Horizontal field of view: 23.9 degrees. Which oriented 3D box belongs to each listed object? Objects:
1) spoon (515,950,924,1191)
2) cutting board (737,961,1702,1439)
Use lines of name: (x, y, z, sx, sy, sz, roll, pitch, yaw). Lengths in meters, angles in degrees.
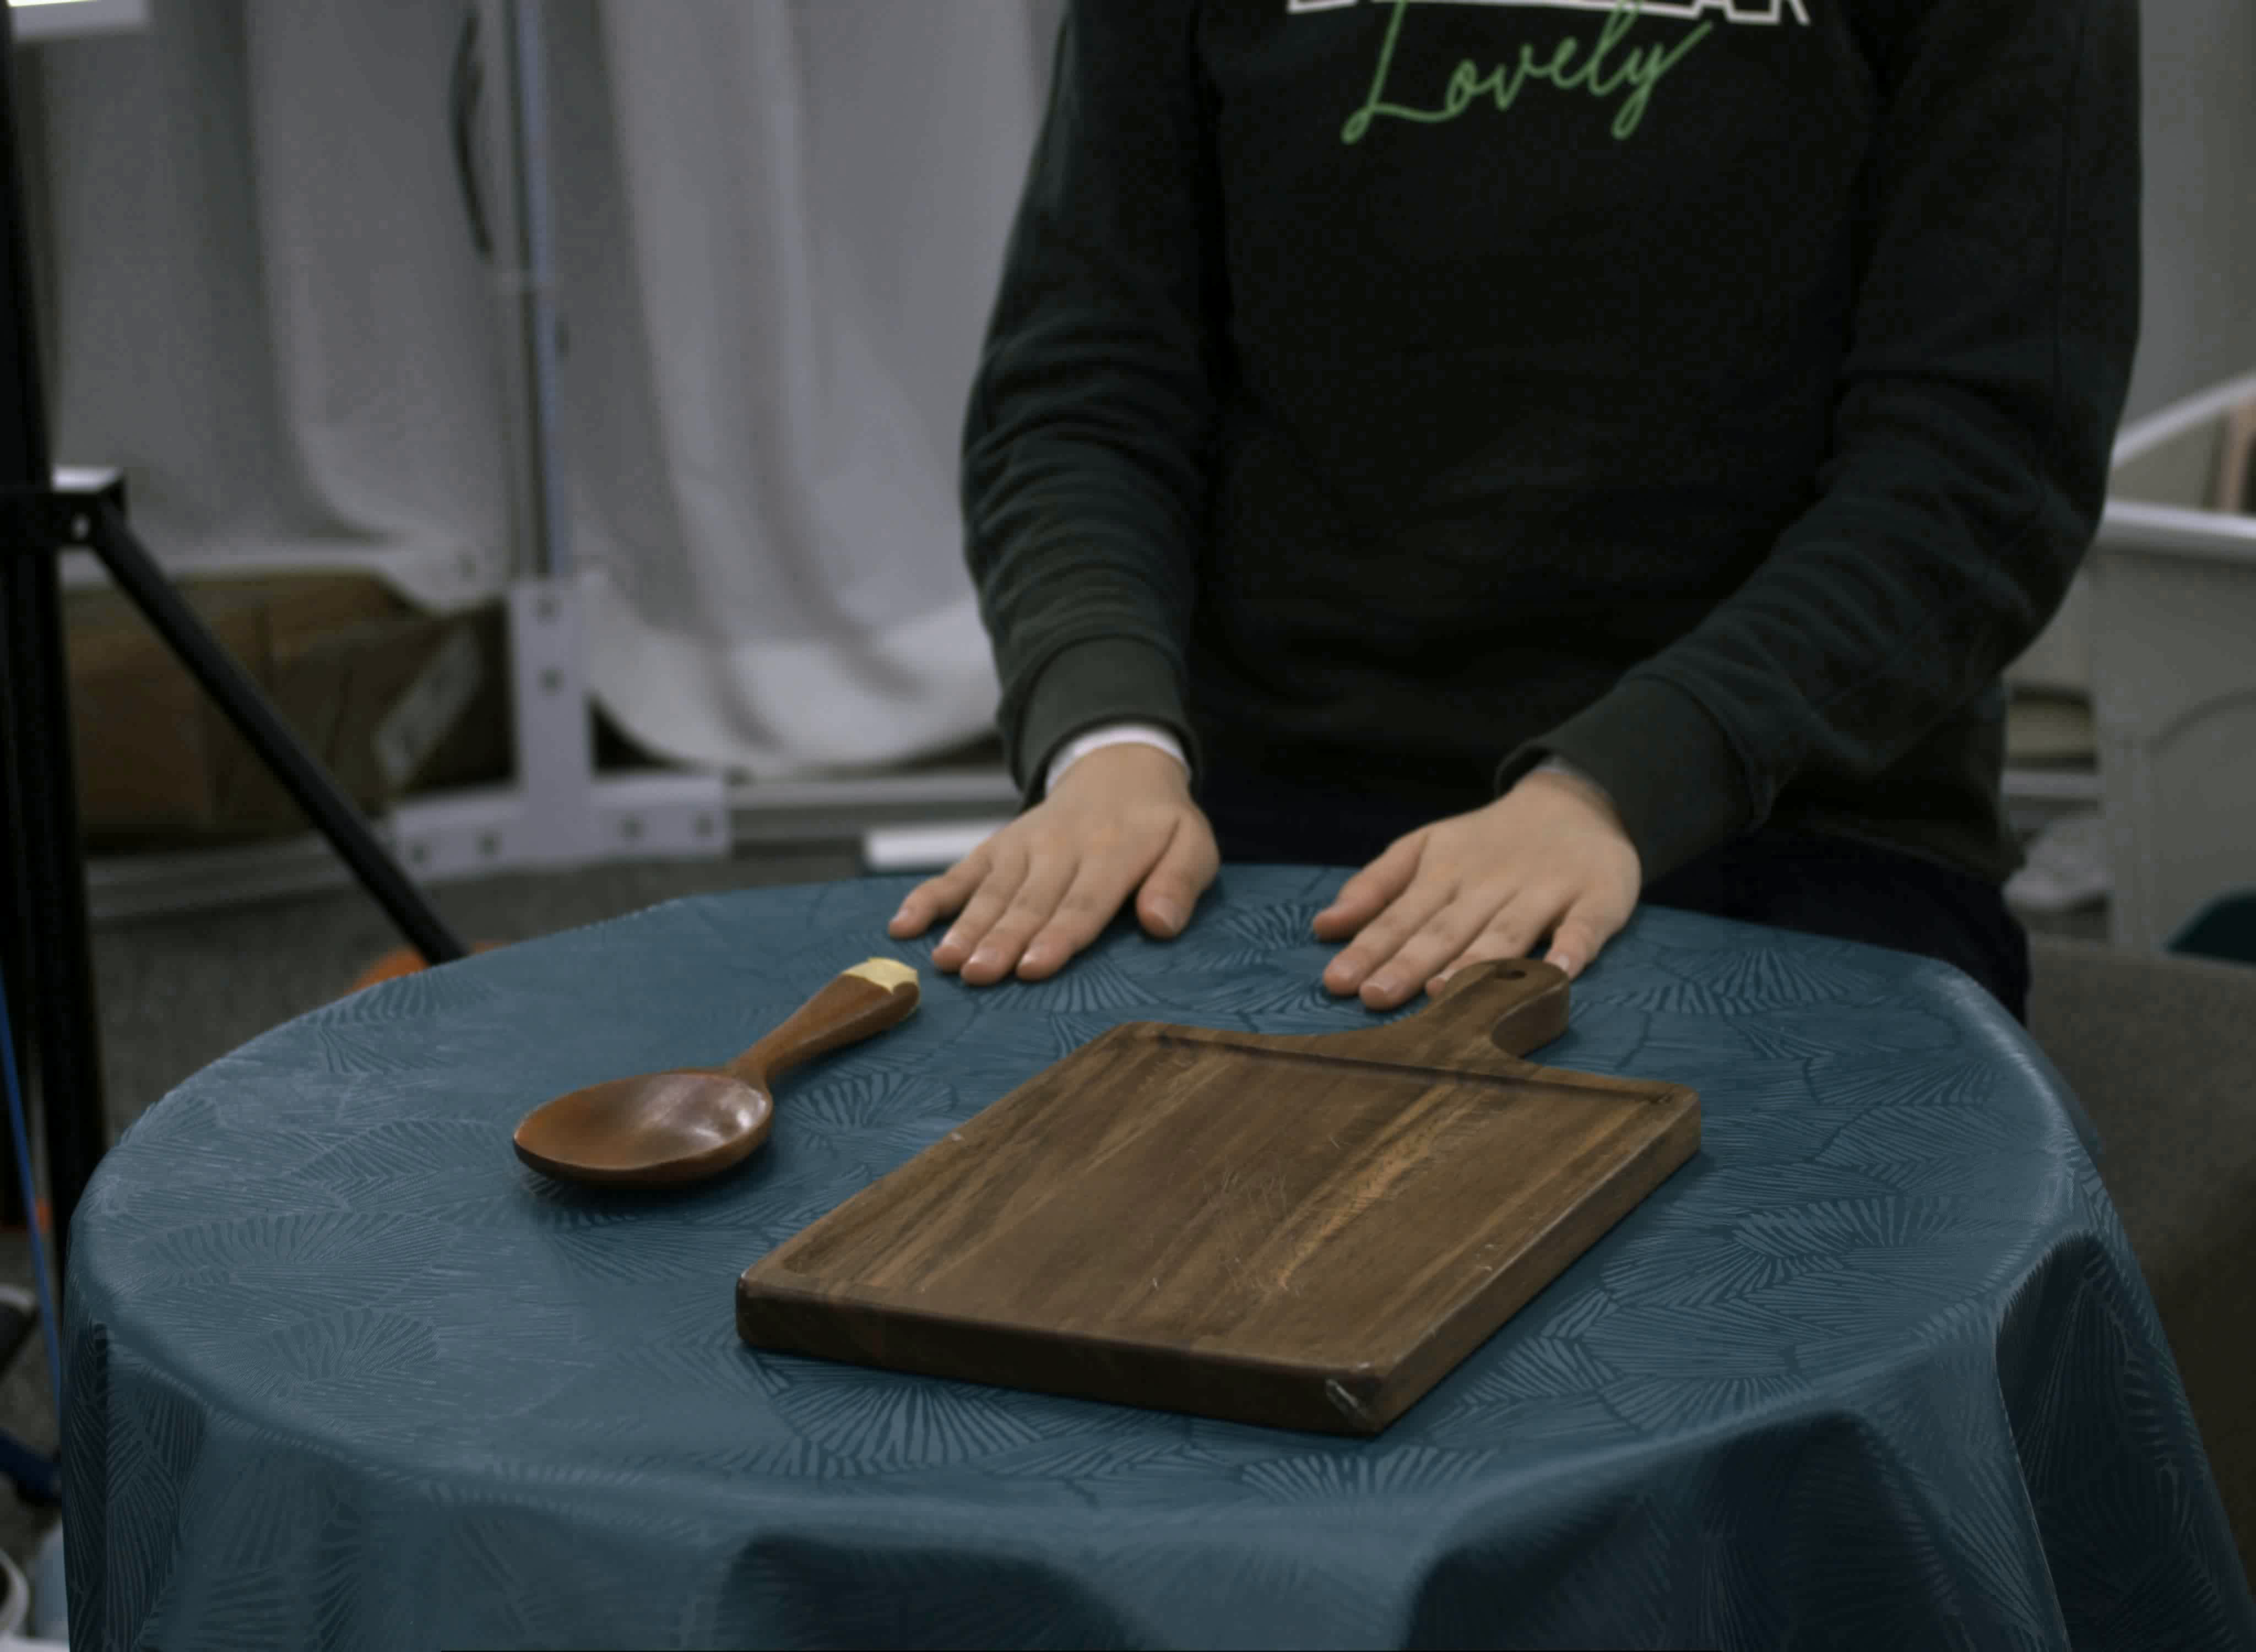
spoon: (-0.117, 0.077, 1.654, 0.076, 0.017, 0.213, 3, 17, 25)
cutting board: (0.053, 0.098, 1.551, 0.204, 0.023, 0.346, 4, 17, 26)
